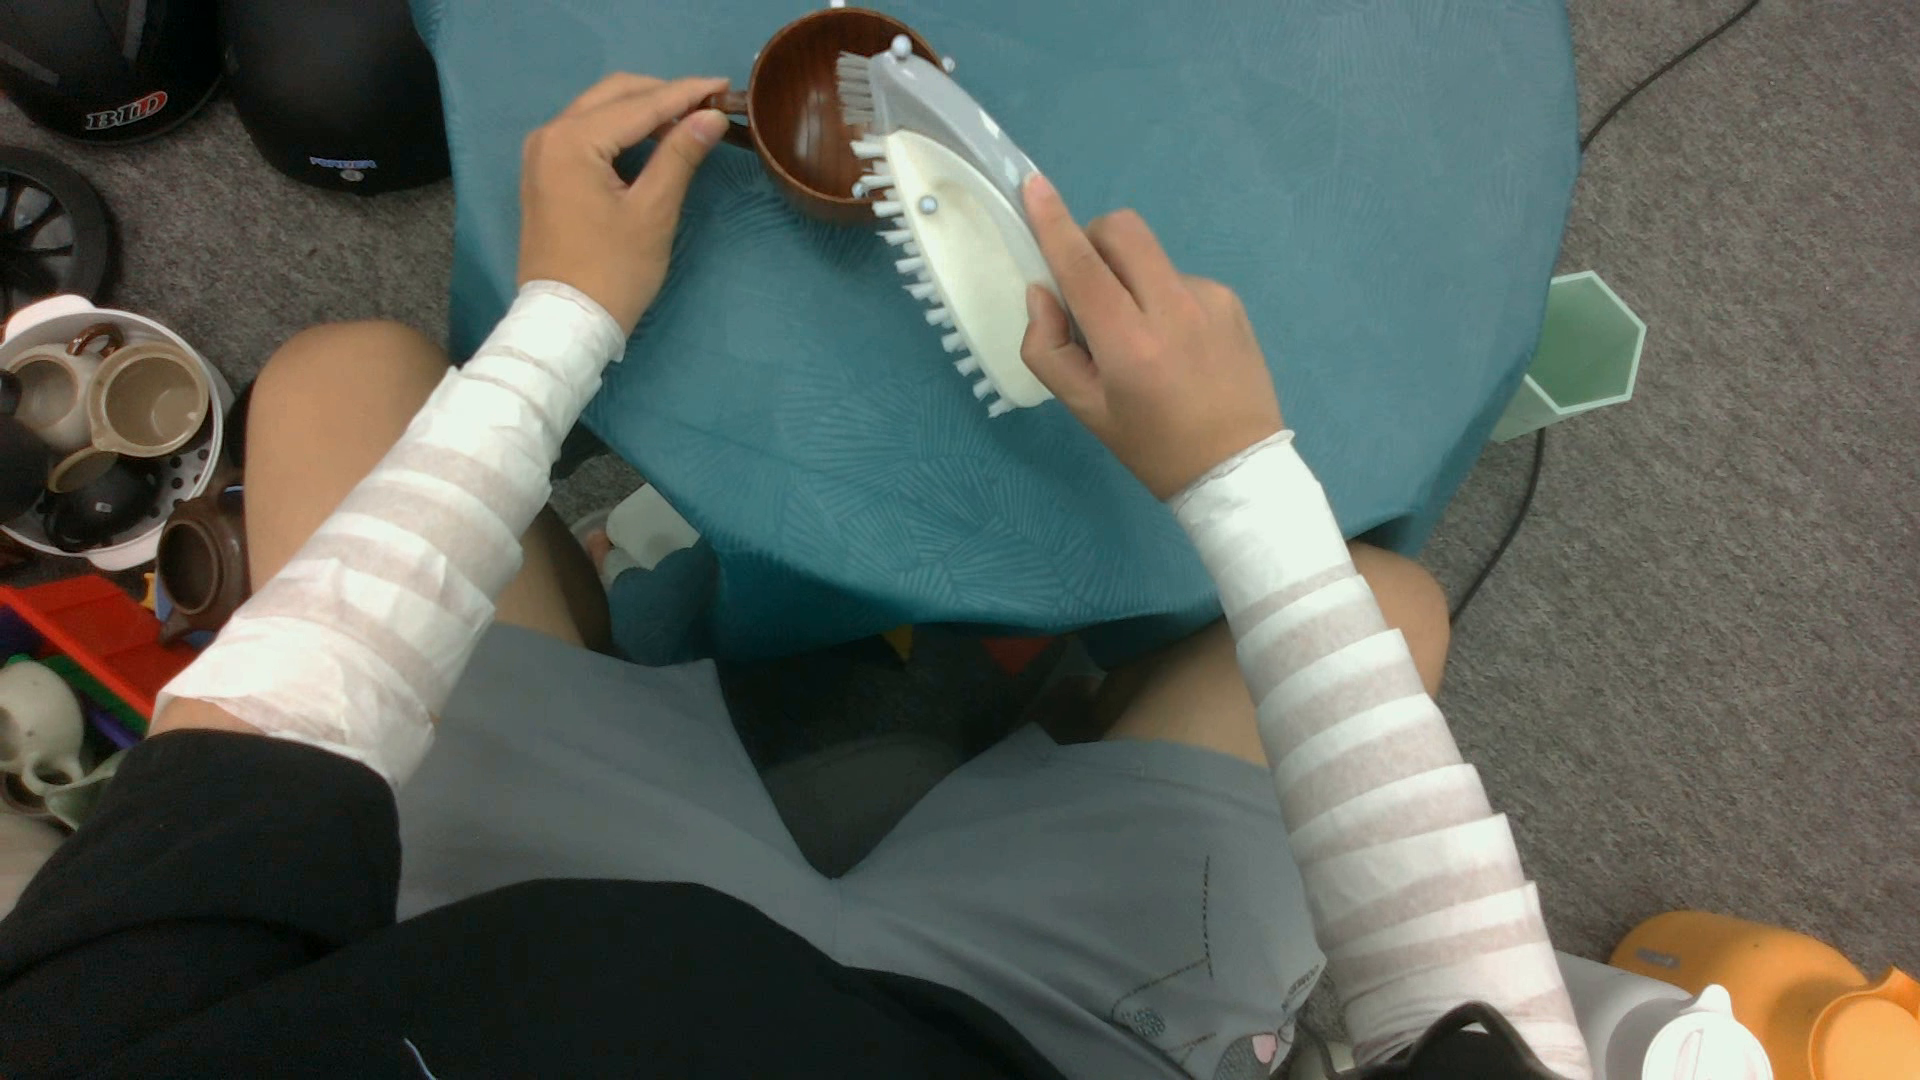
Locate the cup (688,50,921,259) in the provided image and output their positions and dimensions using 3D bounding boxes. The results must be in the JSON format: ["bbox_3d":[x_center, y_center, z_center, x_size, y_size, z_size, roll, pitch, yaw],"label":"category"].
[{"bbox_3d":[-0.074,-0.184,0.685,0.119,0.067,0.096,-3,83,-5],"label":"cup"}]

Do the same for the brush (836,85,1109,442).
[{"bbox_3d":[0.009,-0.131,0.621,0.062,0.094,0.175,-38,106,-27],"label":"brush"}]
